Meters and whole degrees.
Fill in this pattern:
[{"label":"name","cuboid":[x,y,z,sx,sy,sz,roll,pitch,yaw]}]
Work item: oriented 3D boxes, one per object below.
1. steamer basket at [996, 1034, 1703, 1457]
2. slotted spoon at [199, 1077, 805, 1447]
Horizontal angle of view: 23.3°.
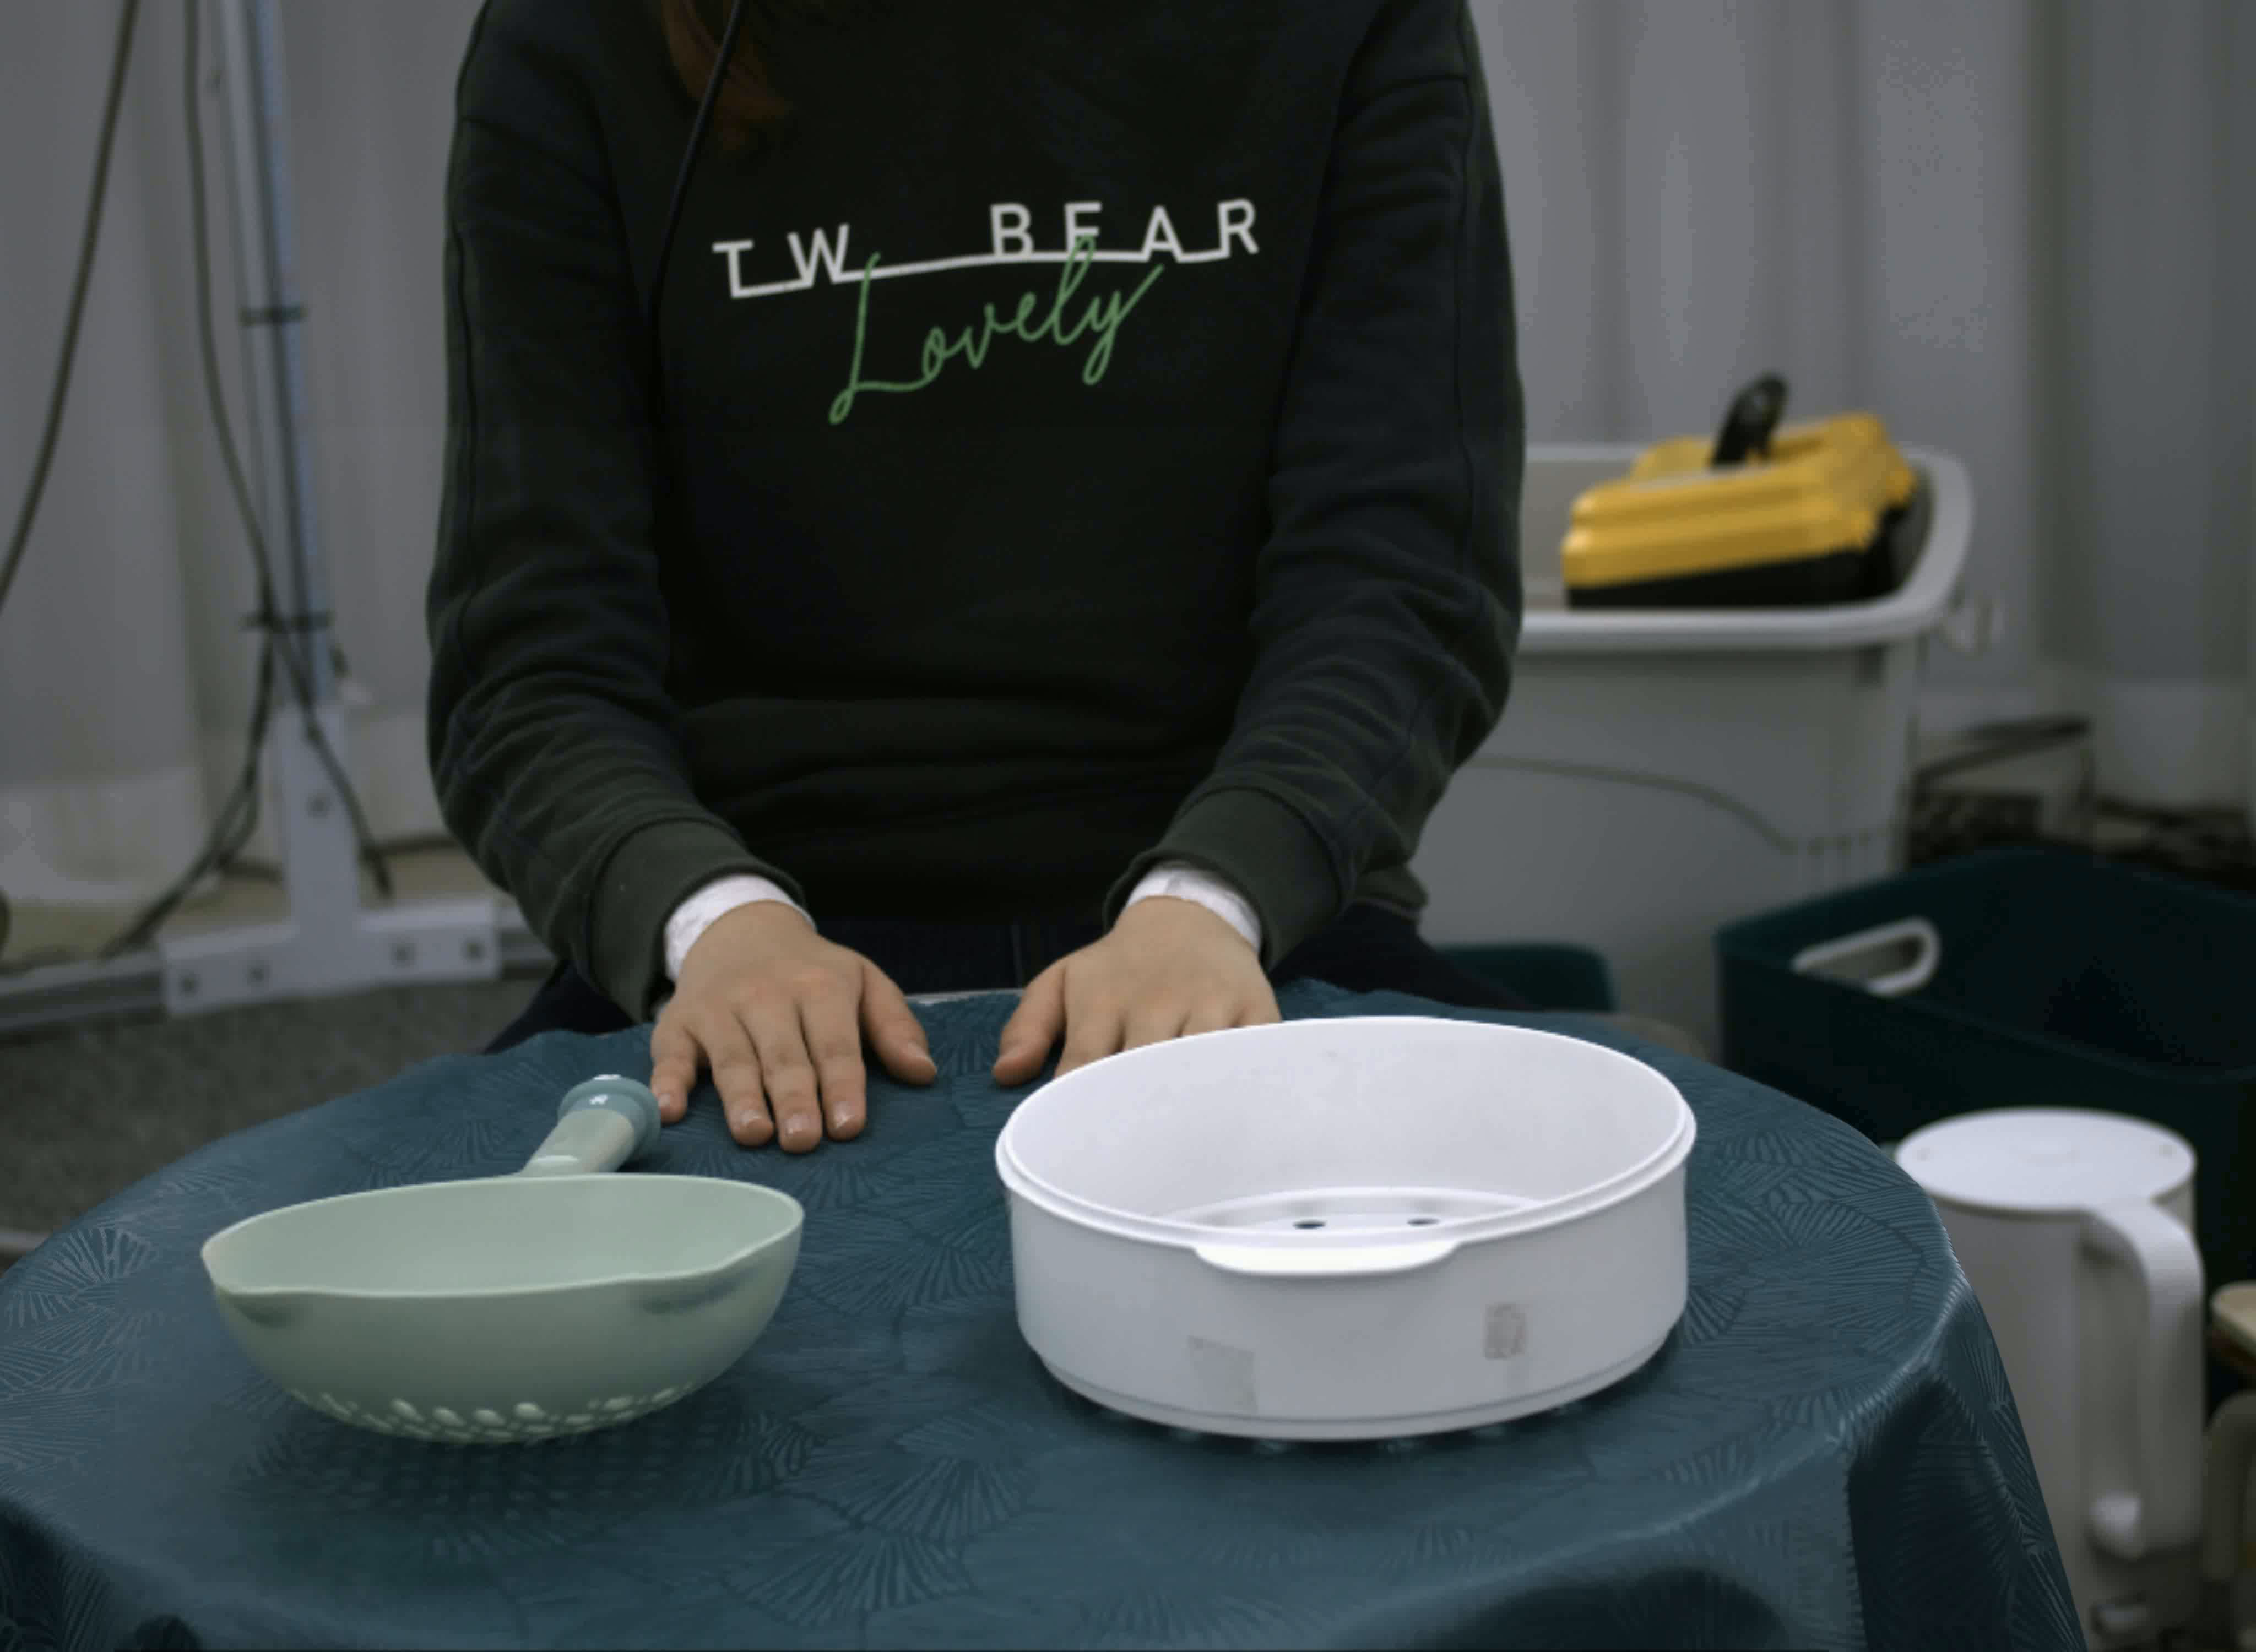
[{"label":"steamer basket","cuboid":[0.064,0.119,1.563,0.201,0.069,0.232,-1,14,5]},{"label":"slotted spoon","cuboid":[-0.170,0.114,1.627,0.169,0.075,0.361,-2,15,2]}]
